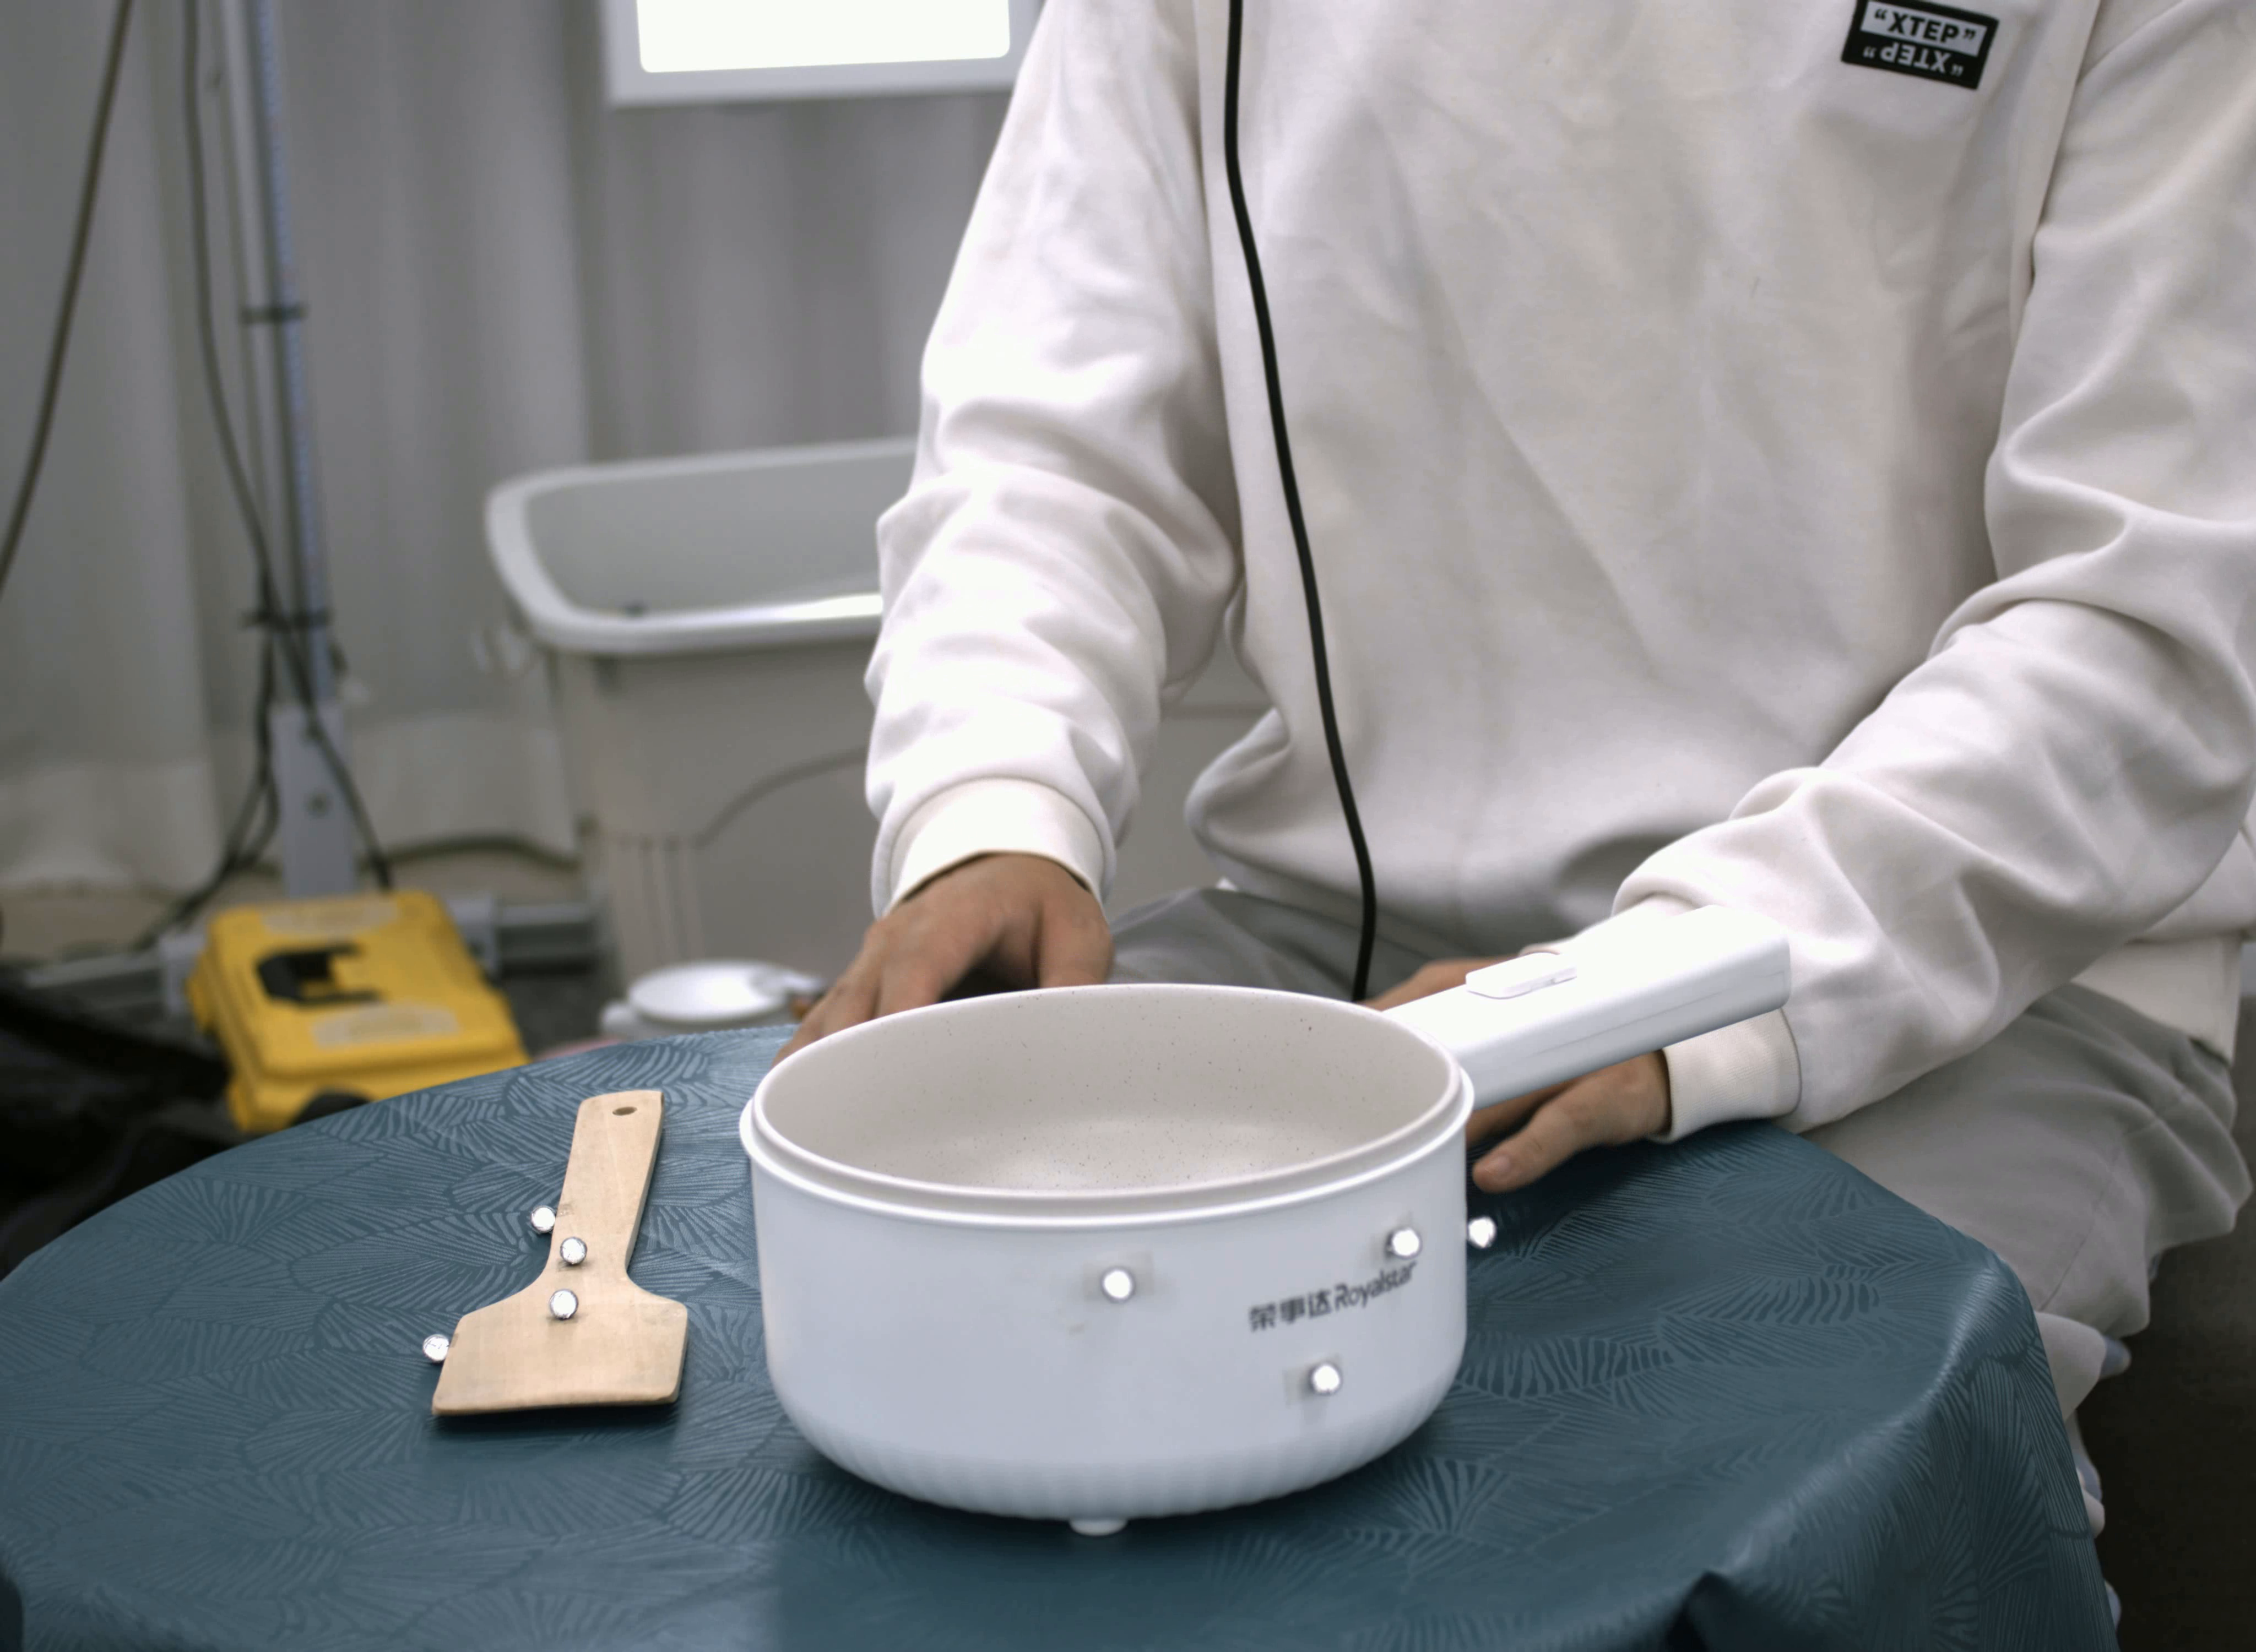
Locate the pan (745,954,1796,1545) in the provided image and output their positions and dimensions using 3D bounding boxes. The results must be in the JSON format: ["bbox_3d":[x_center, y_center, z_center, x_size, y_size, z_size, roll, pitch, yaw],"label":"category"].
[{"bbox_3d":[0.055,0.113,1.555,0.353,0.102,0.202,-11,13,-39],"label":"pan"}]
